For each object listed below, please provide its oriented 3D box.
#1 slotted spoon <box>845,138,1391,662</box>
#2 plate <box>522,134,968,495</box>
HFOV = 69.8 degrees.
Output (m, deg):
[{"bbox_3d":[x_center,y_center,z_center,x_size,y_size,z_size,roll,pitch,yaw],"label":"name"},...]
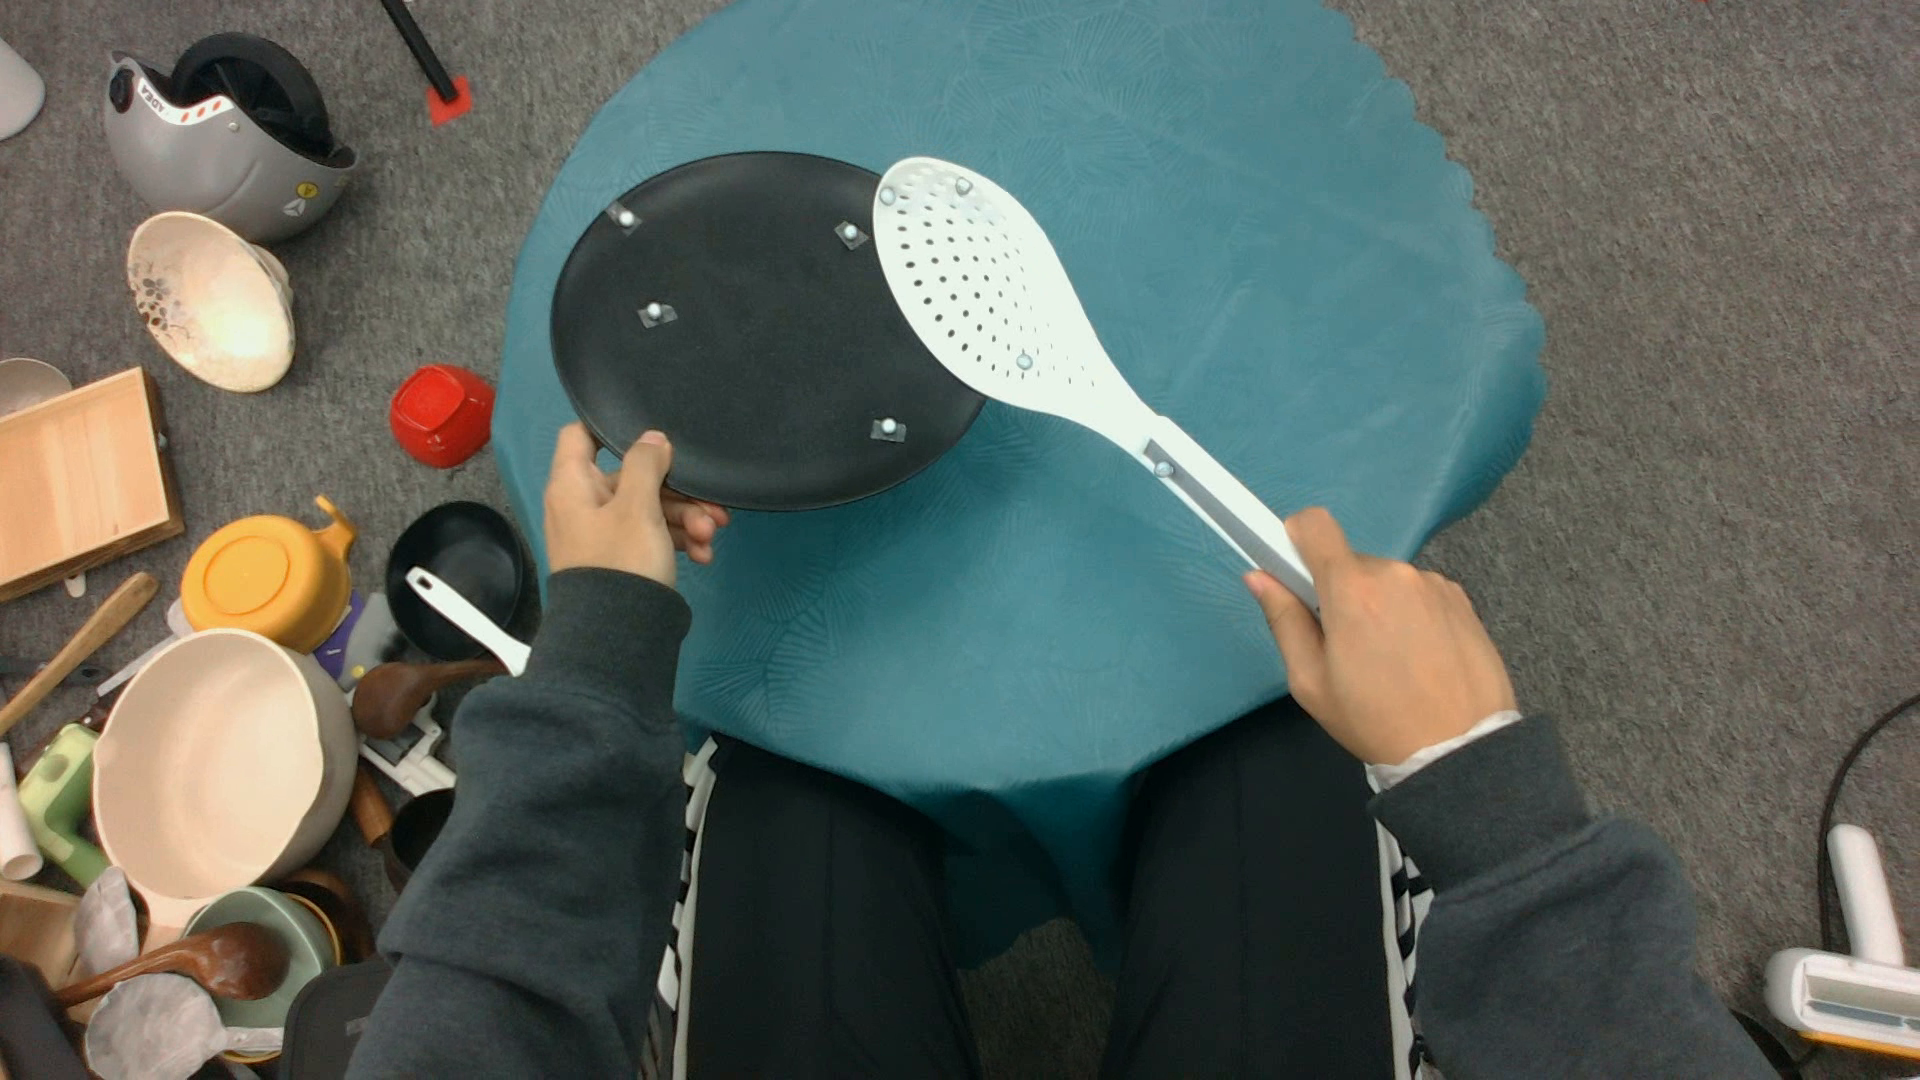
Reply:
[{"bbox_3d":[0.070,-0.069,0.669,0.046,0.135,0.350,-34,72,-24],"label":"slotted spoon"},{"bbox_3d":[-0.113,-0.127,0.756,0.244,0.023,0.245,4,61,-7],"label":"plate"}]
